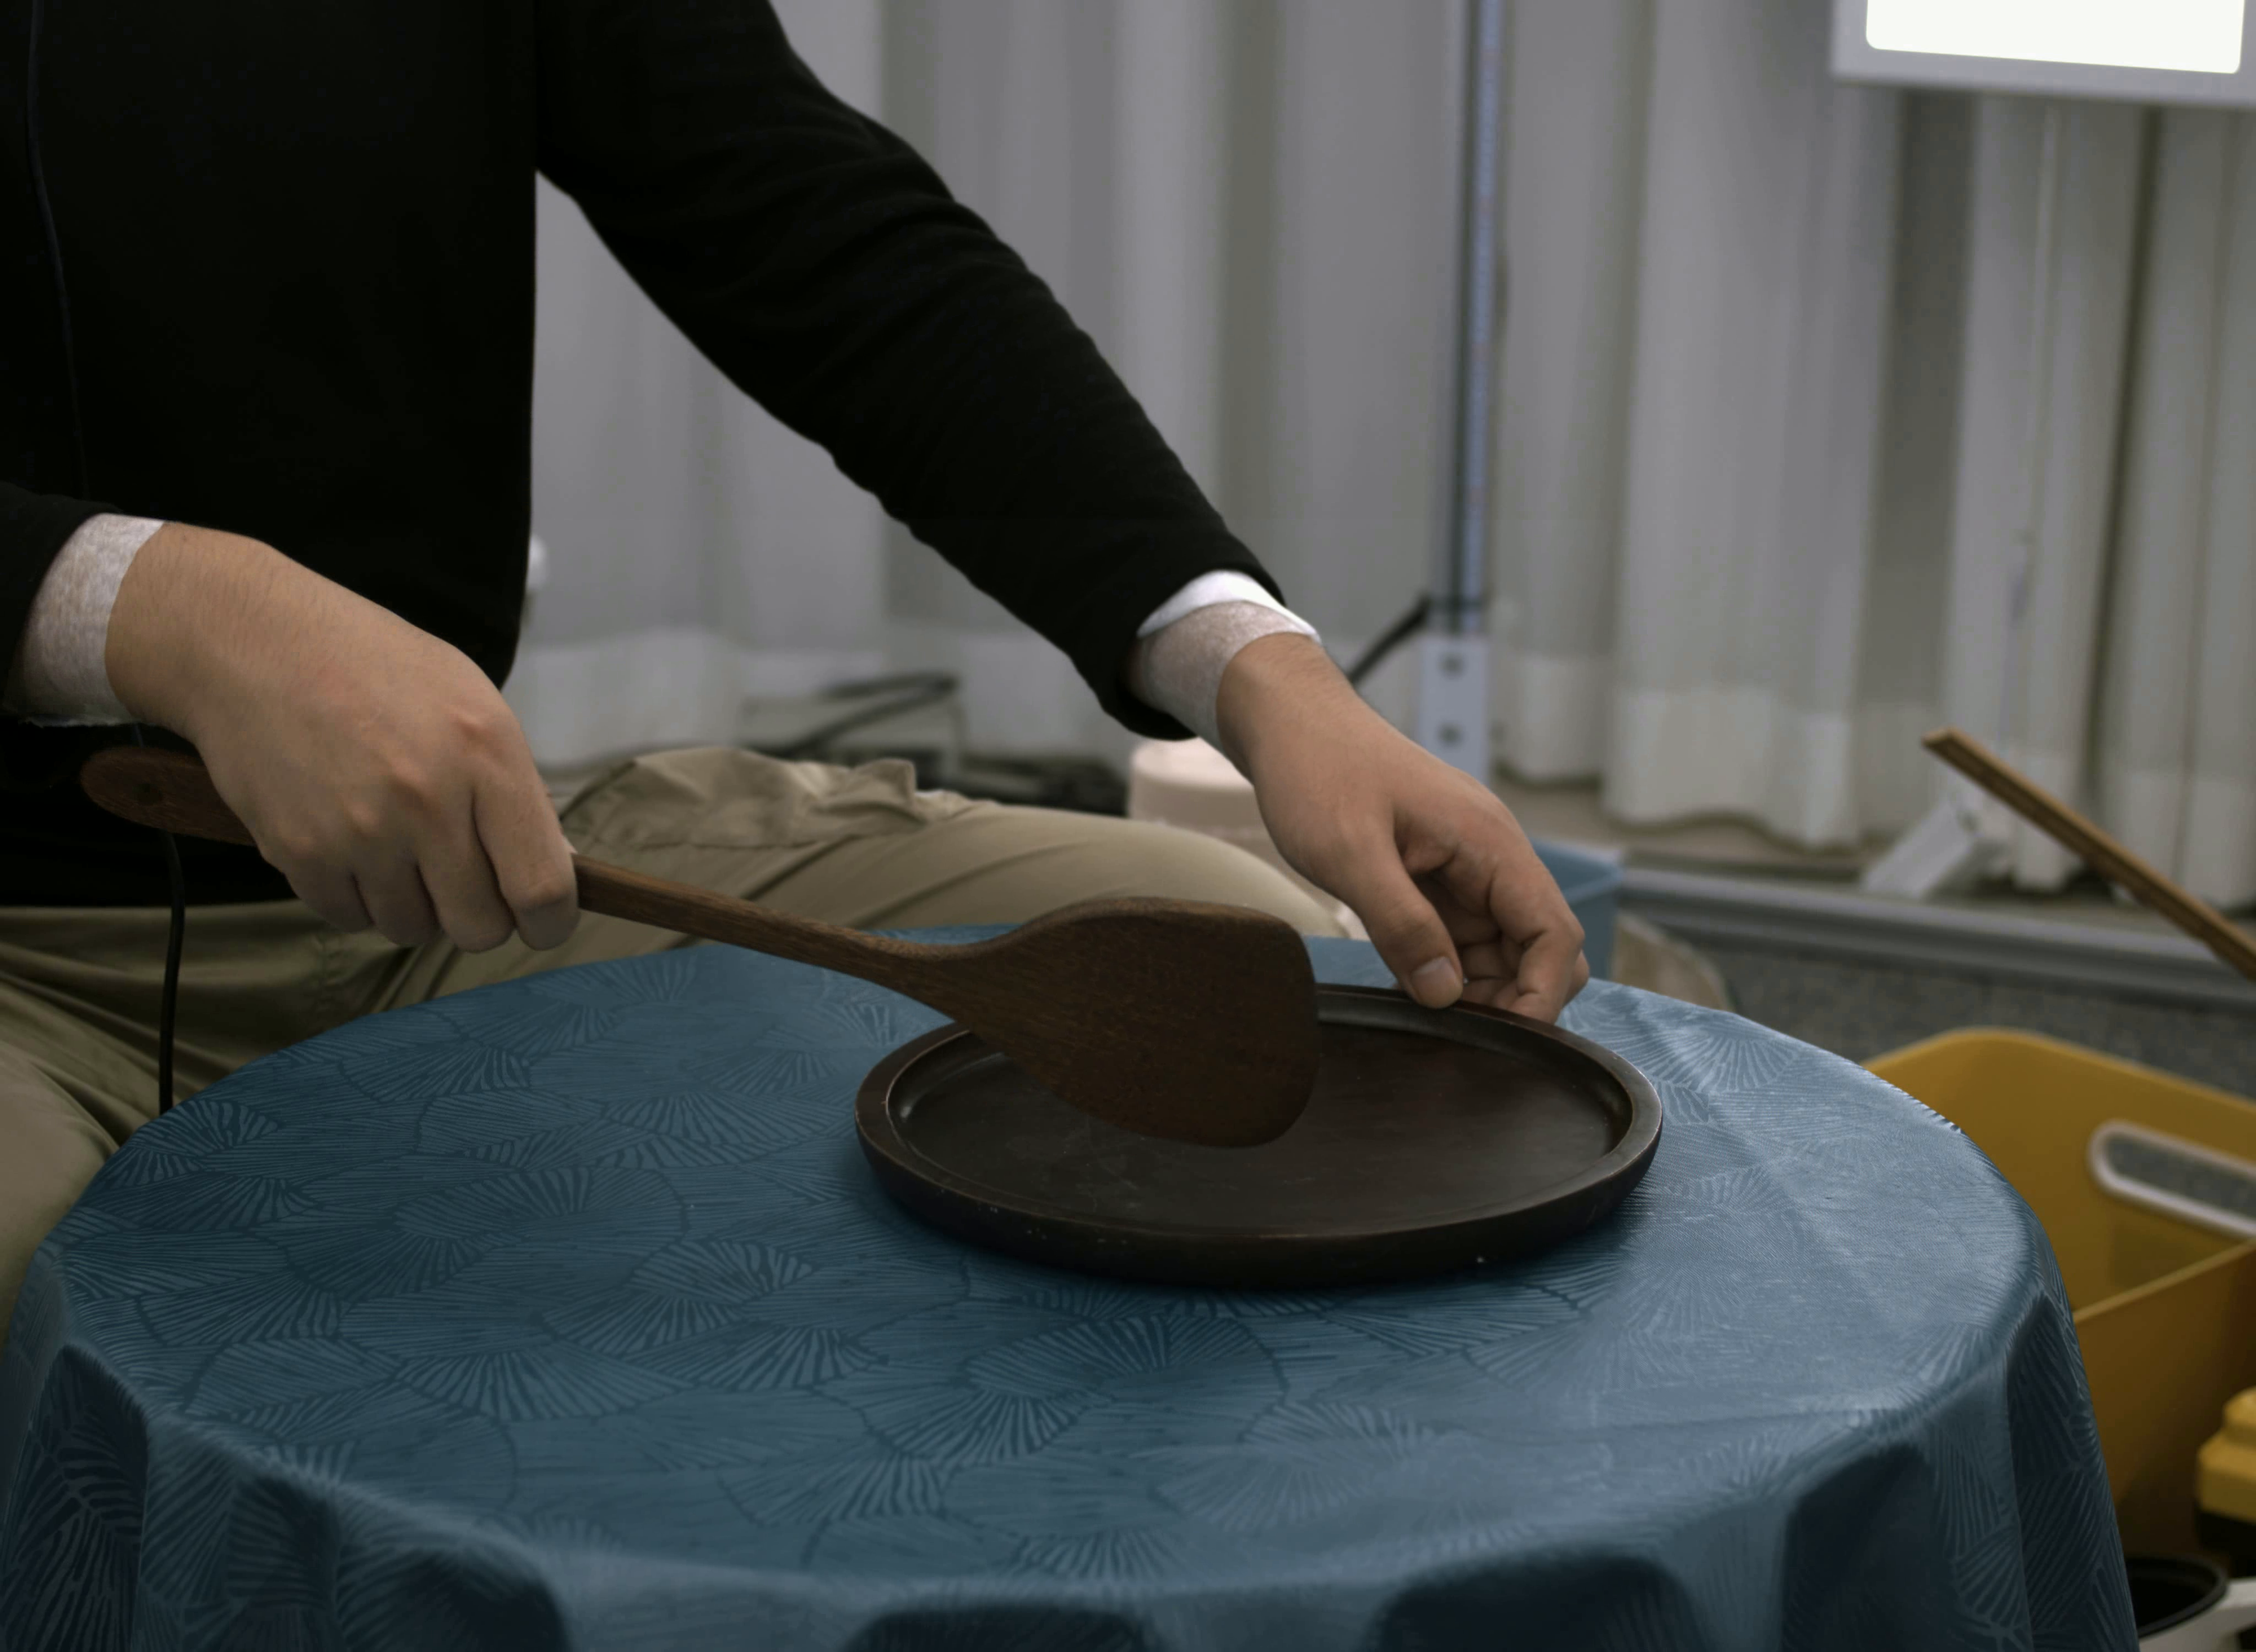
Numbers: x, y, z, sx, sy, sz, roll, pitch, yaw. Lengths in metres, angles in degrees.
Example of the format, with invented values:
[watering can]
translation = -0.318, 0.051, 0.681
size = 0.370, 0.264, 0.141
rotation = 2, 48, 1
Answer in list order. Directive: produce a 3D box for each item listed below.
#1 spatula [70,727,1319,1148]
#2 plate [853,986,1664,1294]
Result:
[spatula]
translation = -0.130, 0.022, 1.545
size = 0.383, 0.097, 0.016
rotation = 13, 42, 9
[plate]
translation = 0.040, 0.094, 1.641
size = 0.254, 0.029, 0.253
rotation = -1, 16, 1
